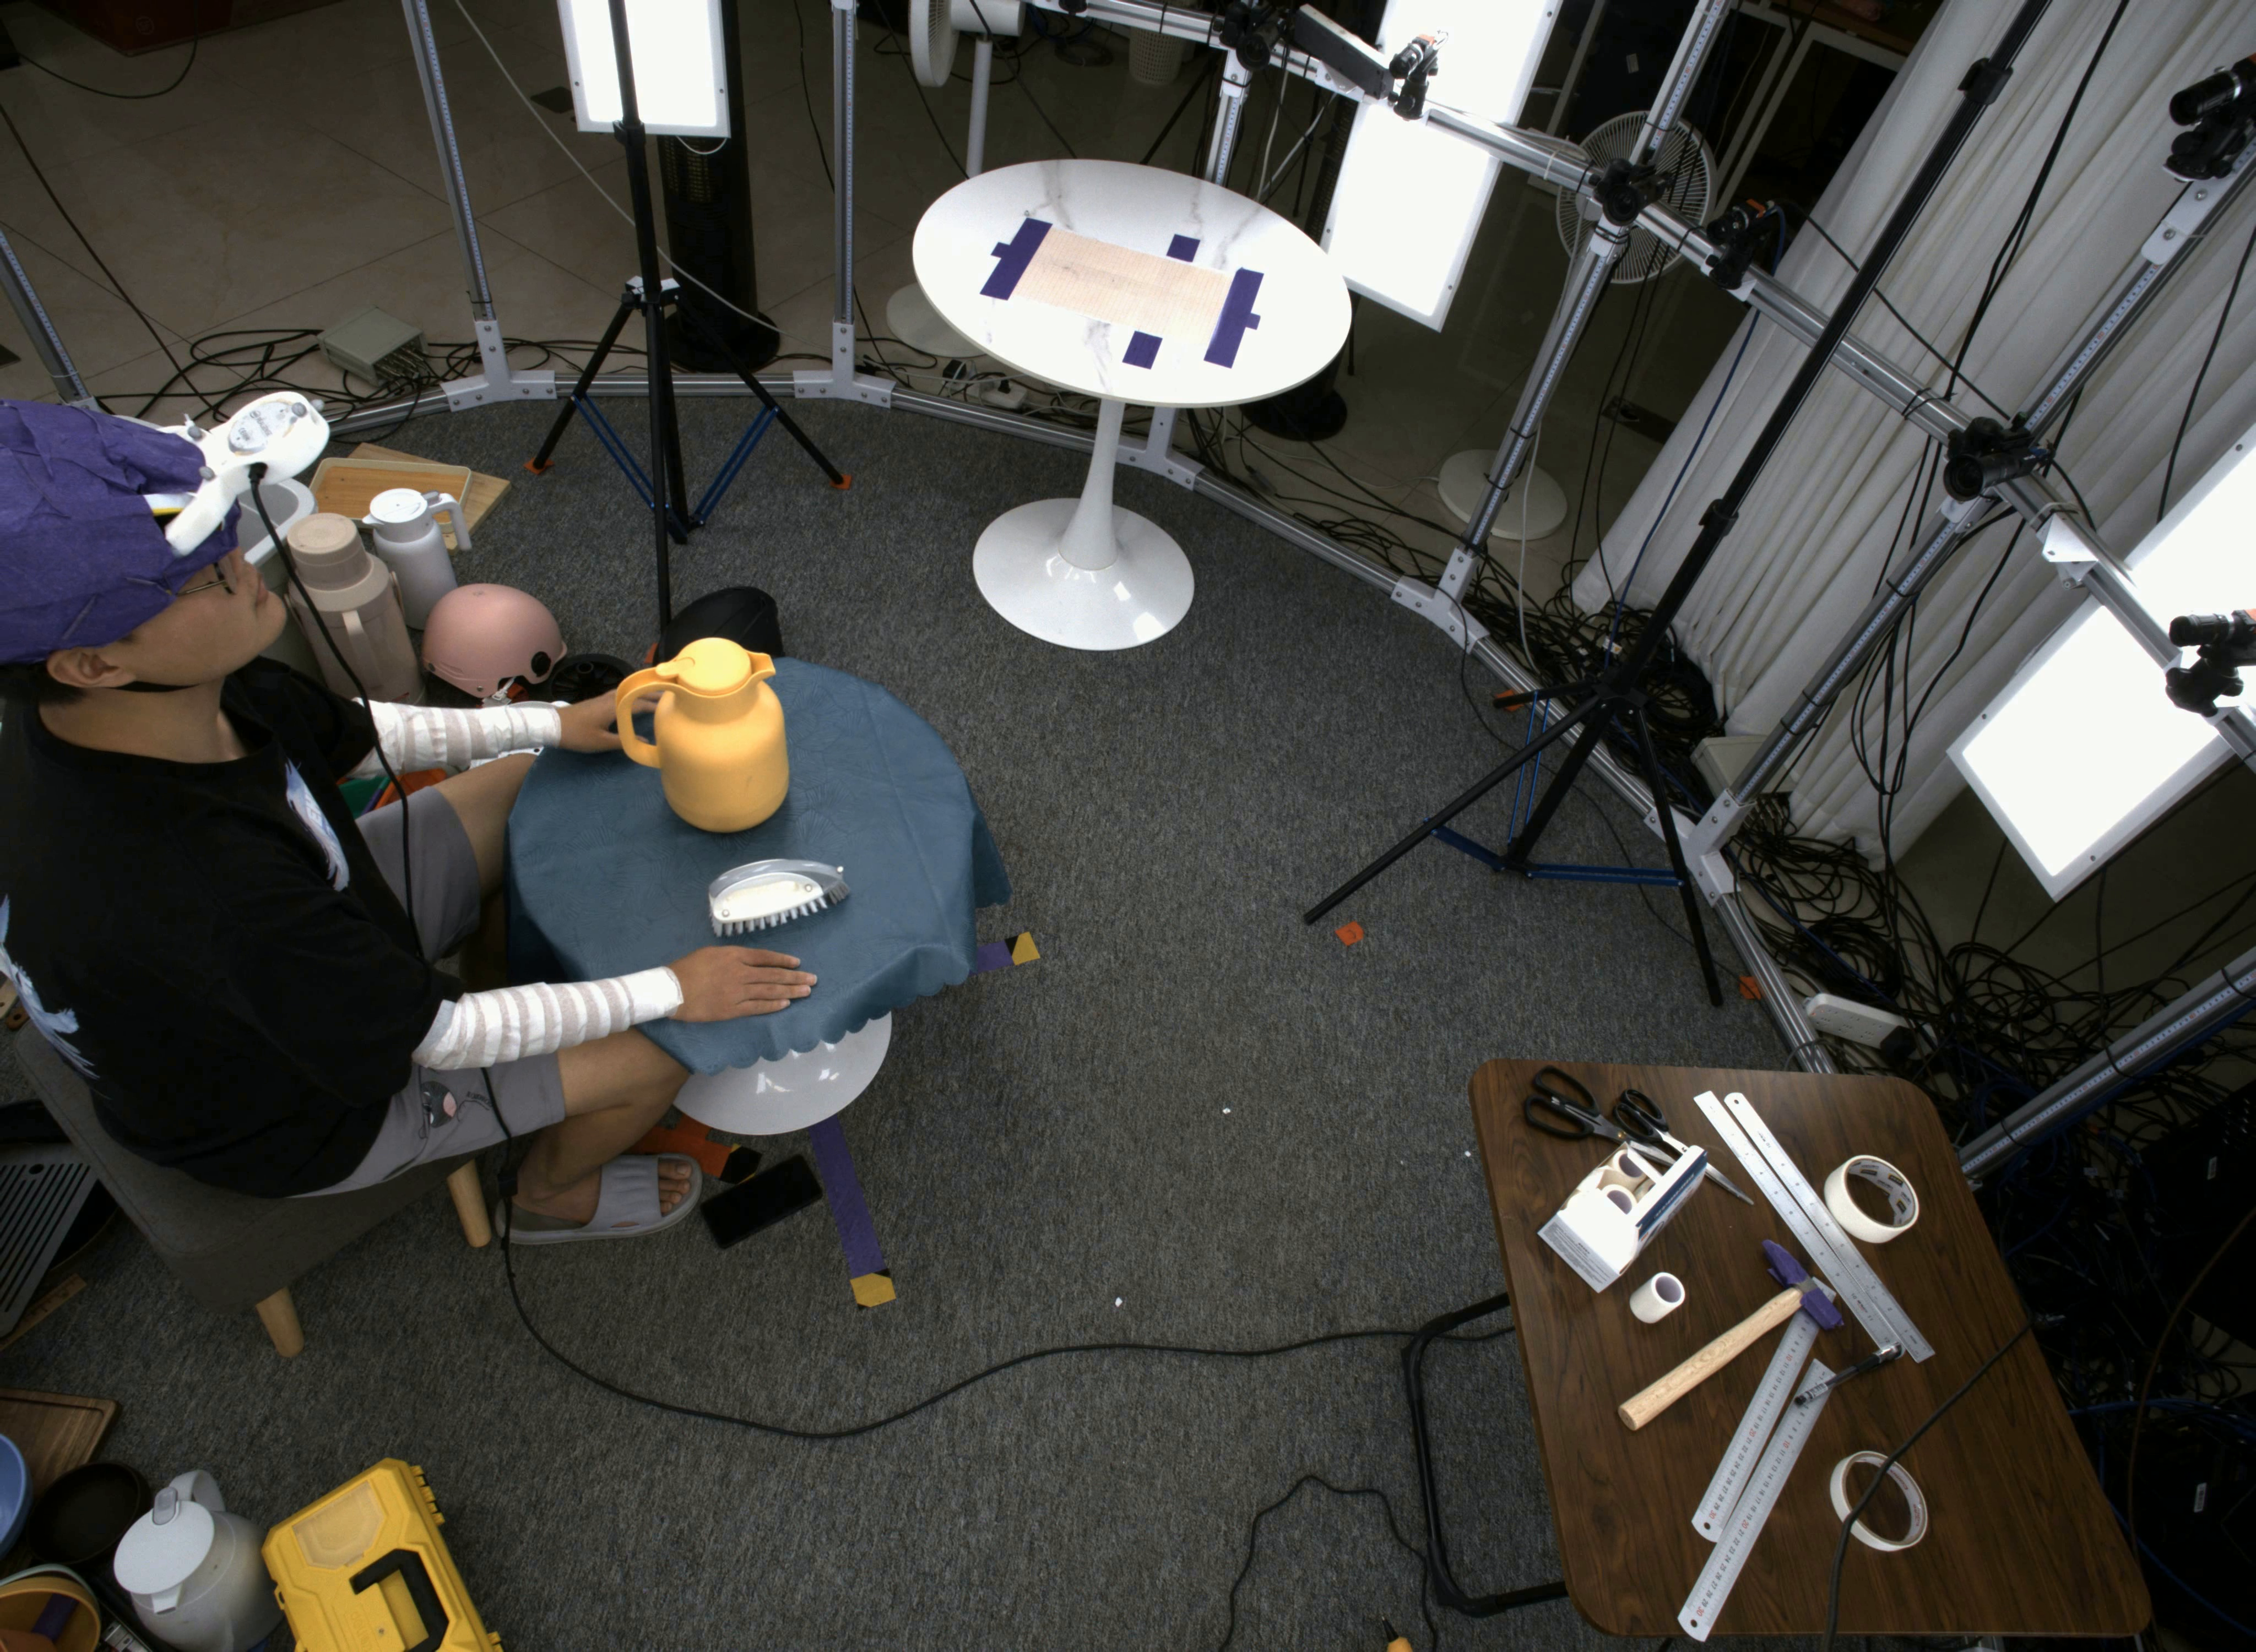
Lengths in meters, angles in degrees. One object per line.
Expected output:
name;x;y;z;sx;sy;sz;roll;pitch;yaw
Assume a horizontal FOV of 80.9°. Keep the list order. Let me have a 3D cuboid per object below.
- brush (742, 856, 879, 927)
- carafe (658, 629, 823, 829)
brush;-0.398;0.068;1.631;0.176;0.096;0.060;-9;56;-21
carafe;-0.492;-0.128;1.645;0.203;0.266;0.159;-5;52;-17
